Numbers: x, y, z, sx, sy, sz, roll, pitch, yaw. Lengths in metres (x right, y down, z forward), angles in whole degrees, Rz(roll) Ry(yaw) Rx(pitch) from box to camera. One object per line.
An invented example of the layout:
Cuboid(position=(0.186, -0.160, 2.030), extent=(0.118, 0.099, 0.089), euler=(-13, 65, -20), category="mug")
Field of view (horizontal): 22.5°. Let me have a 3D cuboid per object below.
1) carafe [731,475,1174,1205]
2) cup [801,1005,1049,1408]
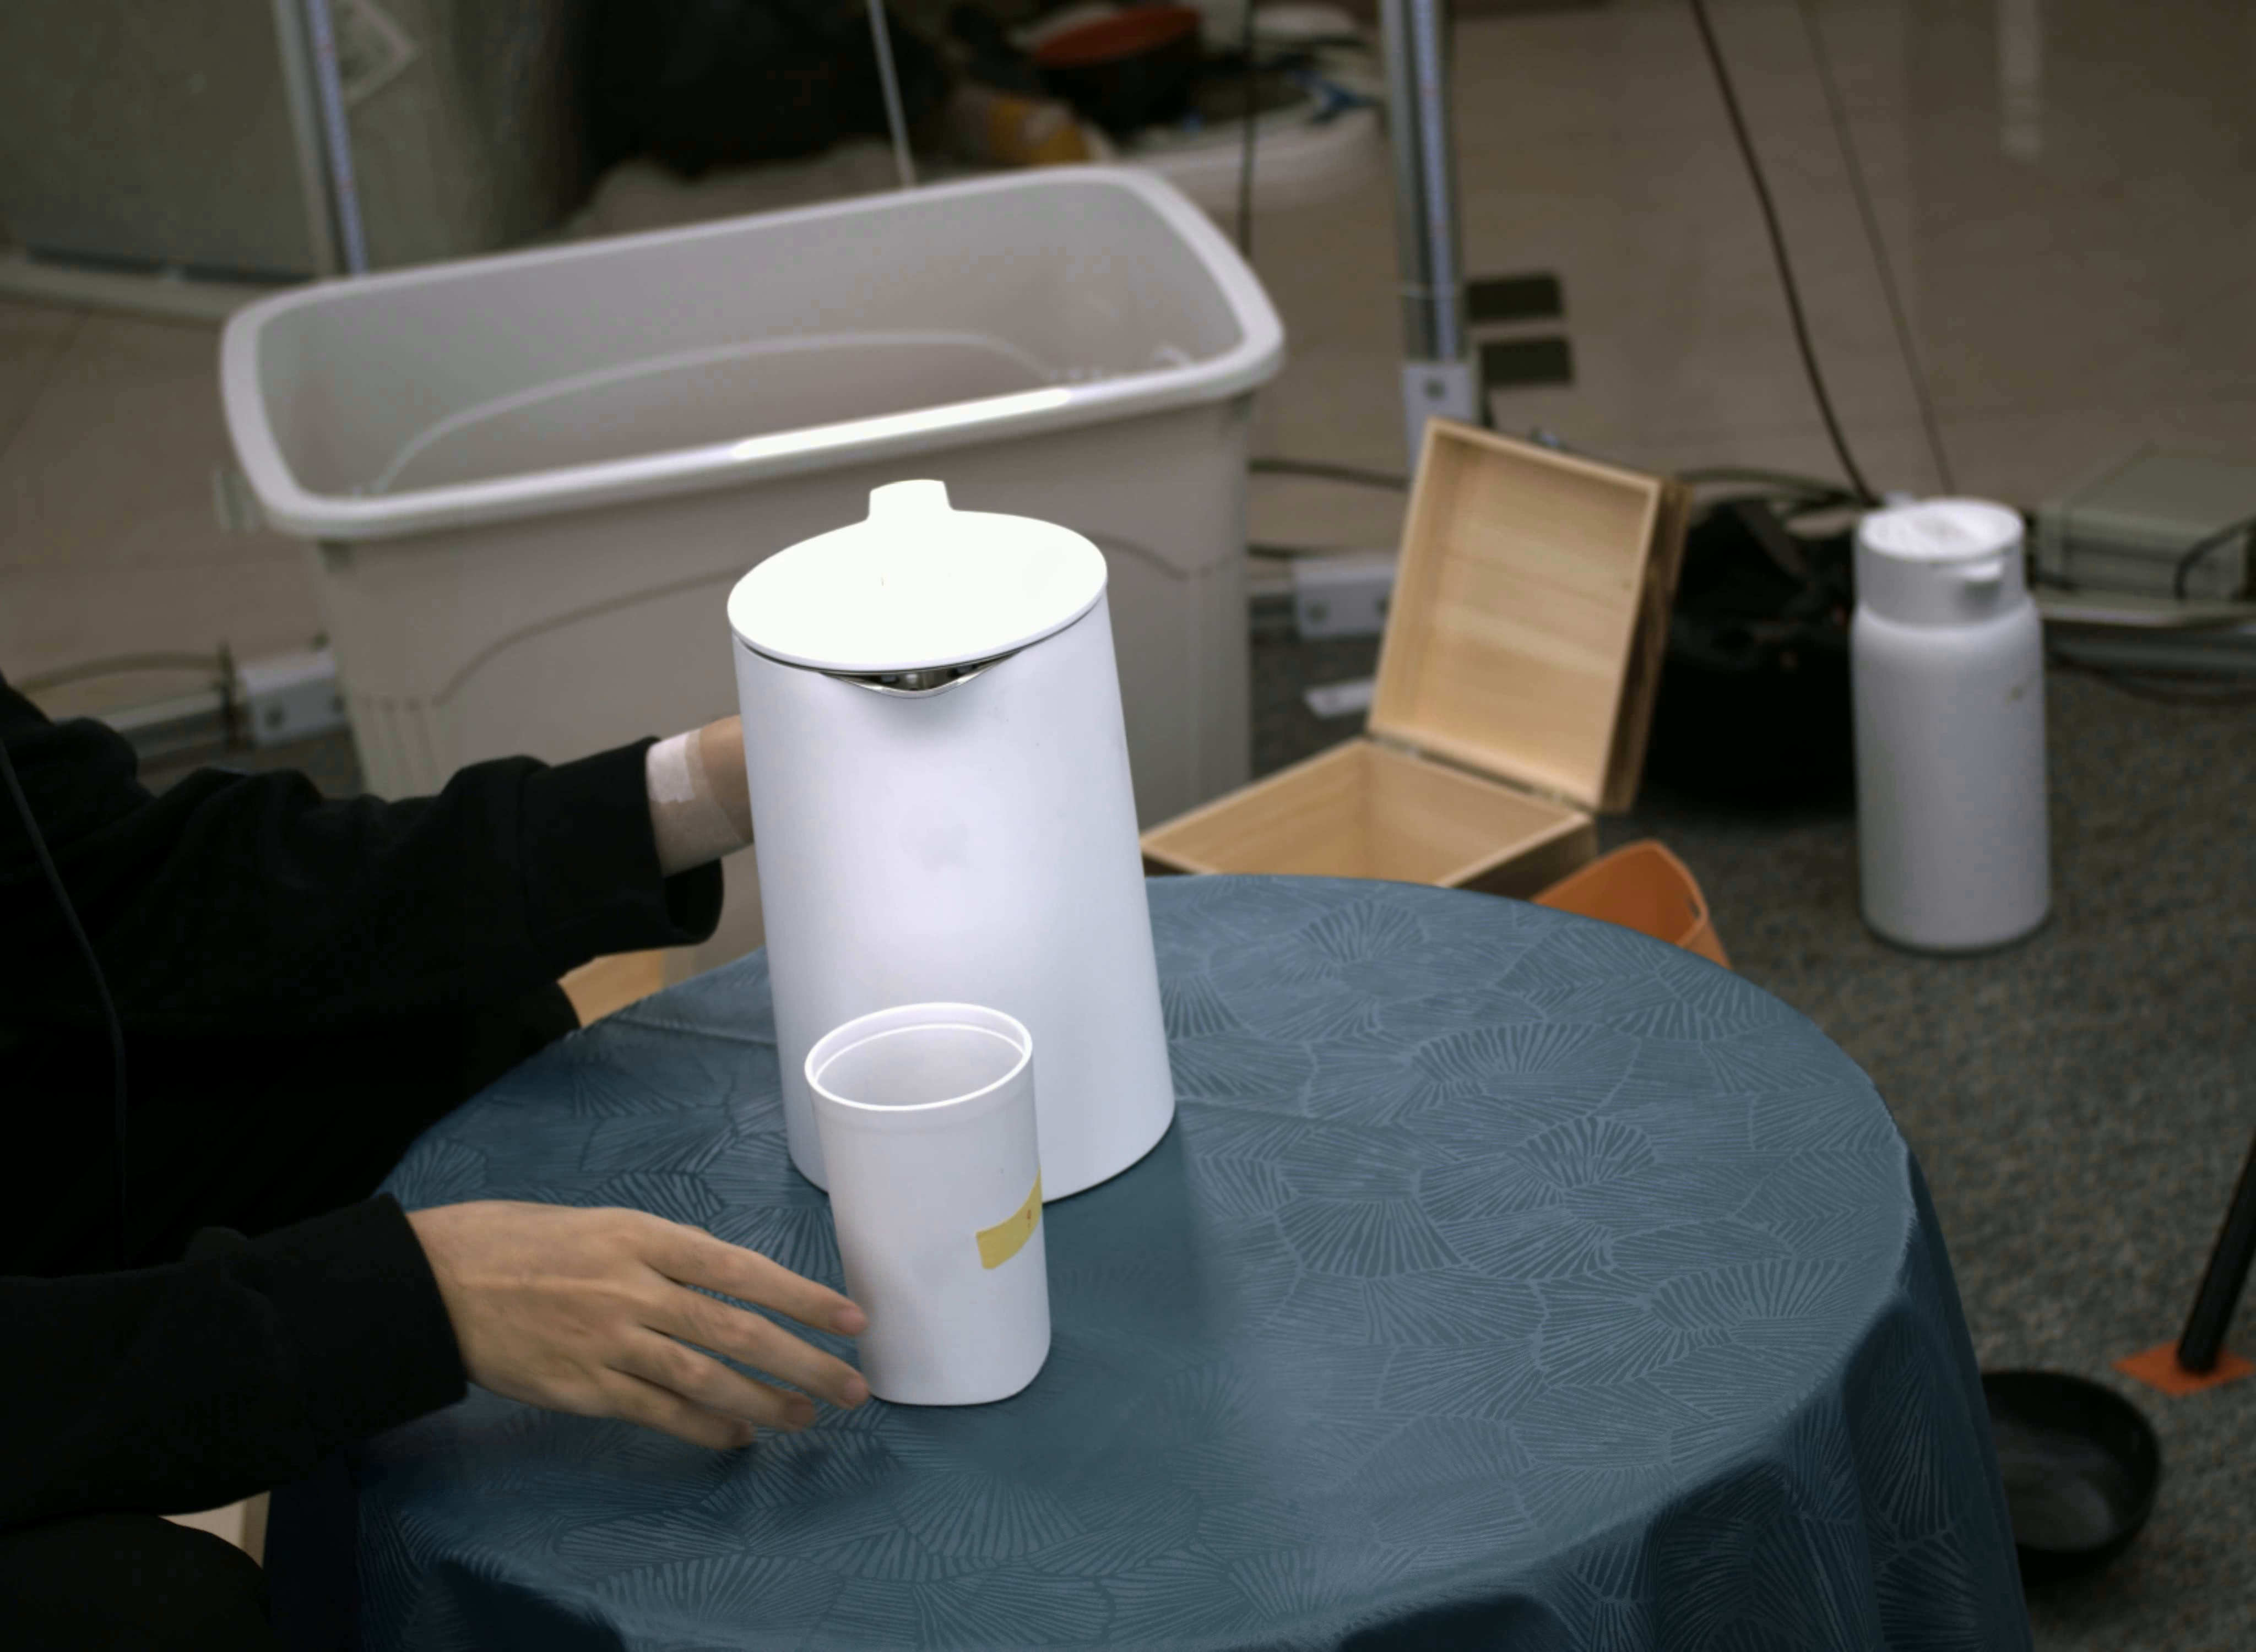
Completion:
Cuboid(position=(-0.068, 0.001, 2.177), extent=(0.152, 0.244, 0.210), euler=(-5, 26, -1), category="carafe")
Cuboid(position=(-0.068, 0.137, 2.016), extent=(0.081, 0.127, 0.080), euler=(-6, 25, 3), category="cup")
